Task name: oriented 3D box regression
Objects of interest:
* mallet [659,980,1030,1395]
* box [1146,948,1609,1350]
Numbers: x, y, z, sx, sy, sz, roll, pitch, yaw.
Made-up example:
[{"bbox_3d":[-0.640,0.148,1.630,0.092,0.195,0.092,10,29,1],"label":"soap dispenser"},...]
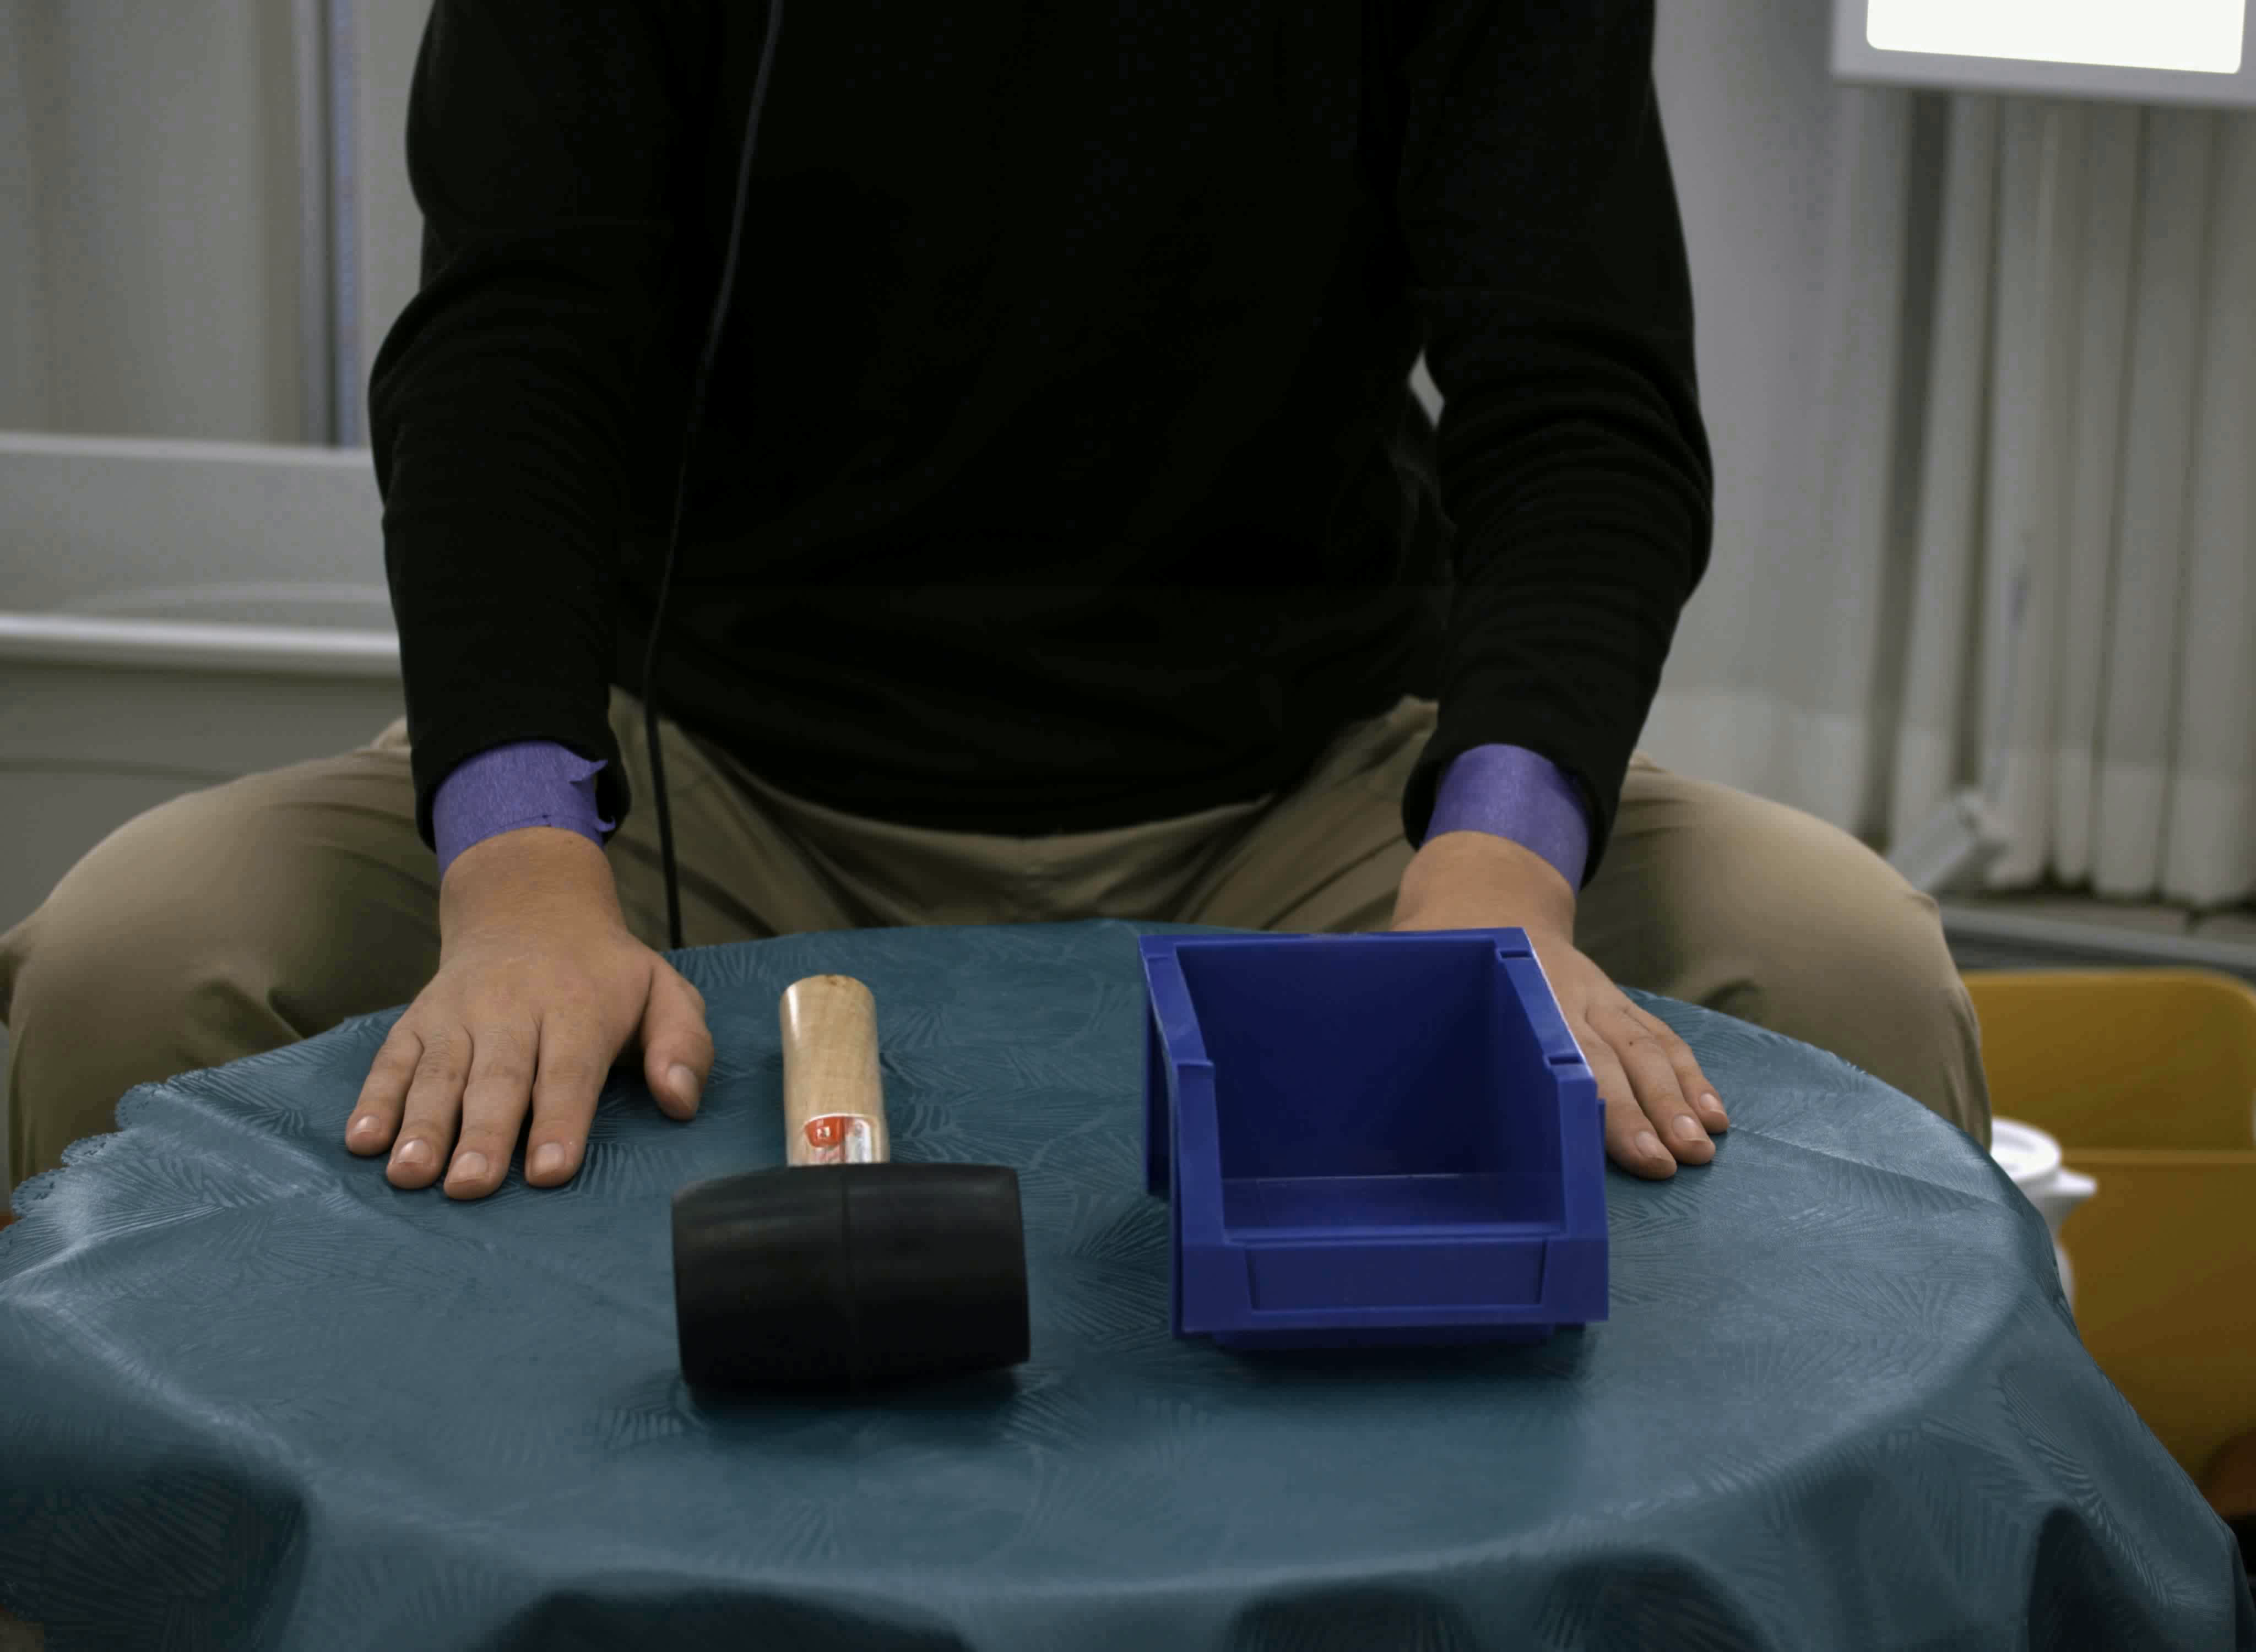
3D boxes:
[{"bbox_3d":[-0.087,0.090,1.587,0.101,0.065,0.337,-1,15,-4],"label":"mallet"},{"bbox_3d":[0.071,0.096,1.531,0.124,0.082,0.178,-1,12,-3],"label":"box"}]
